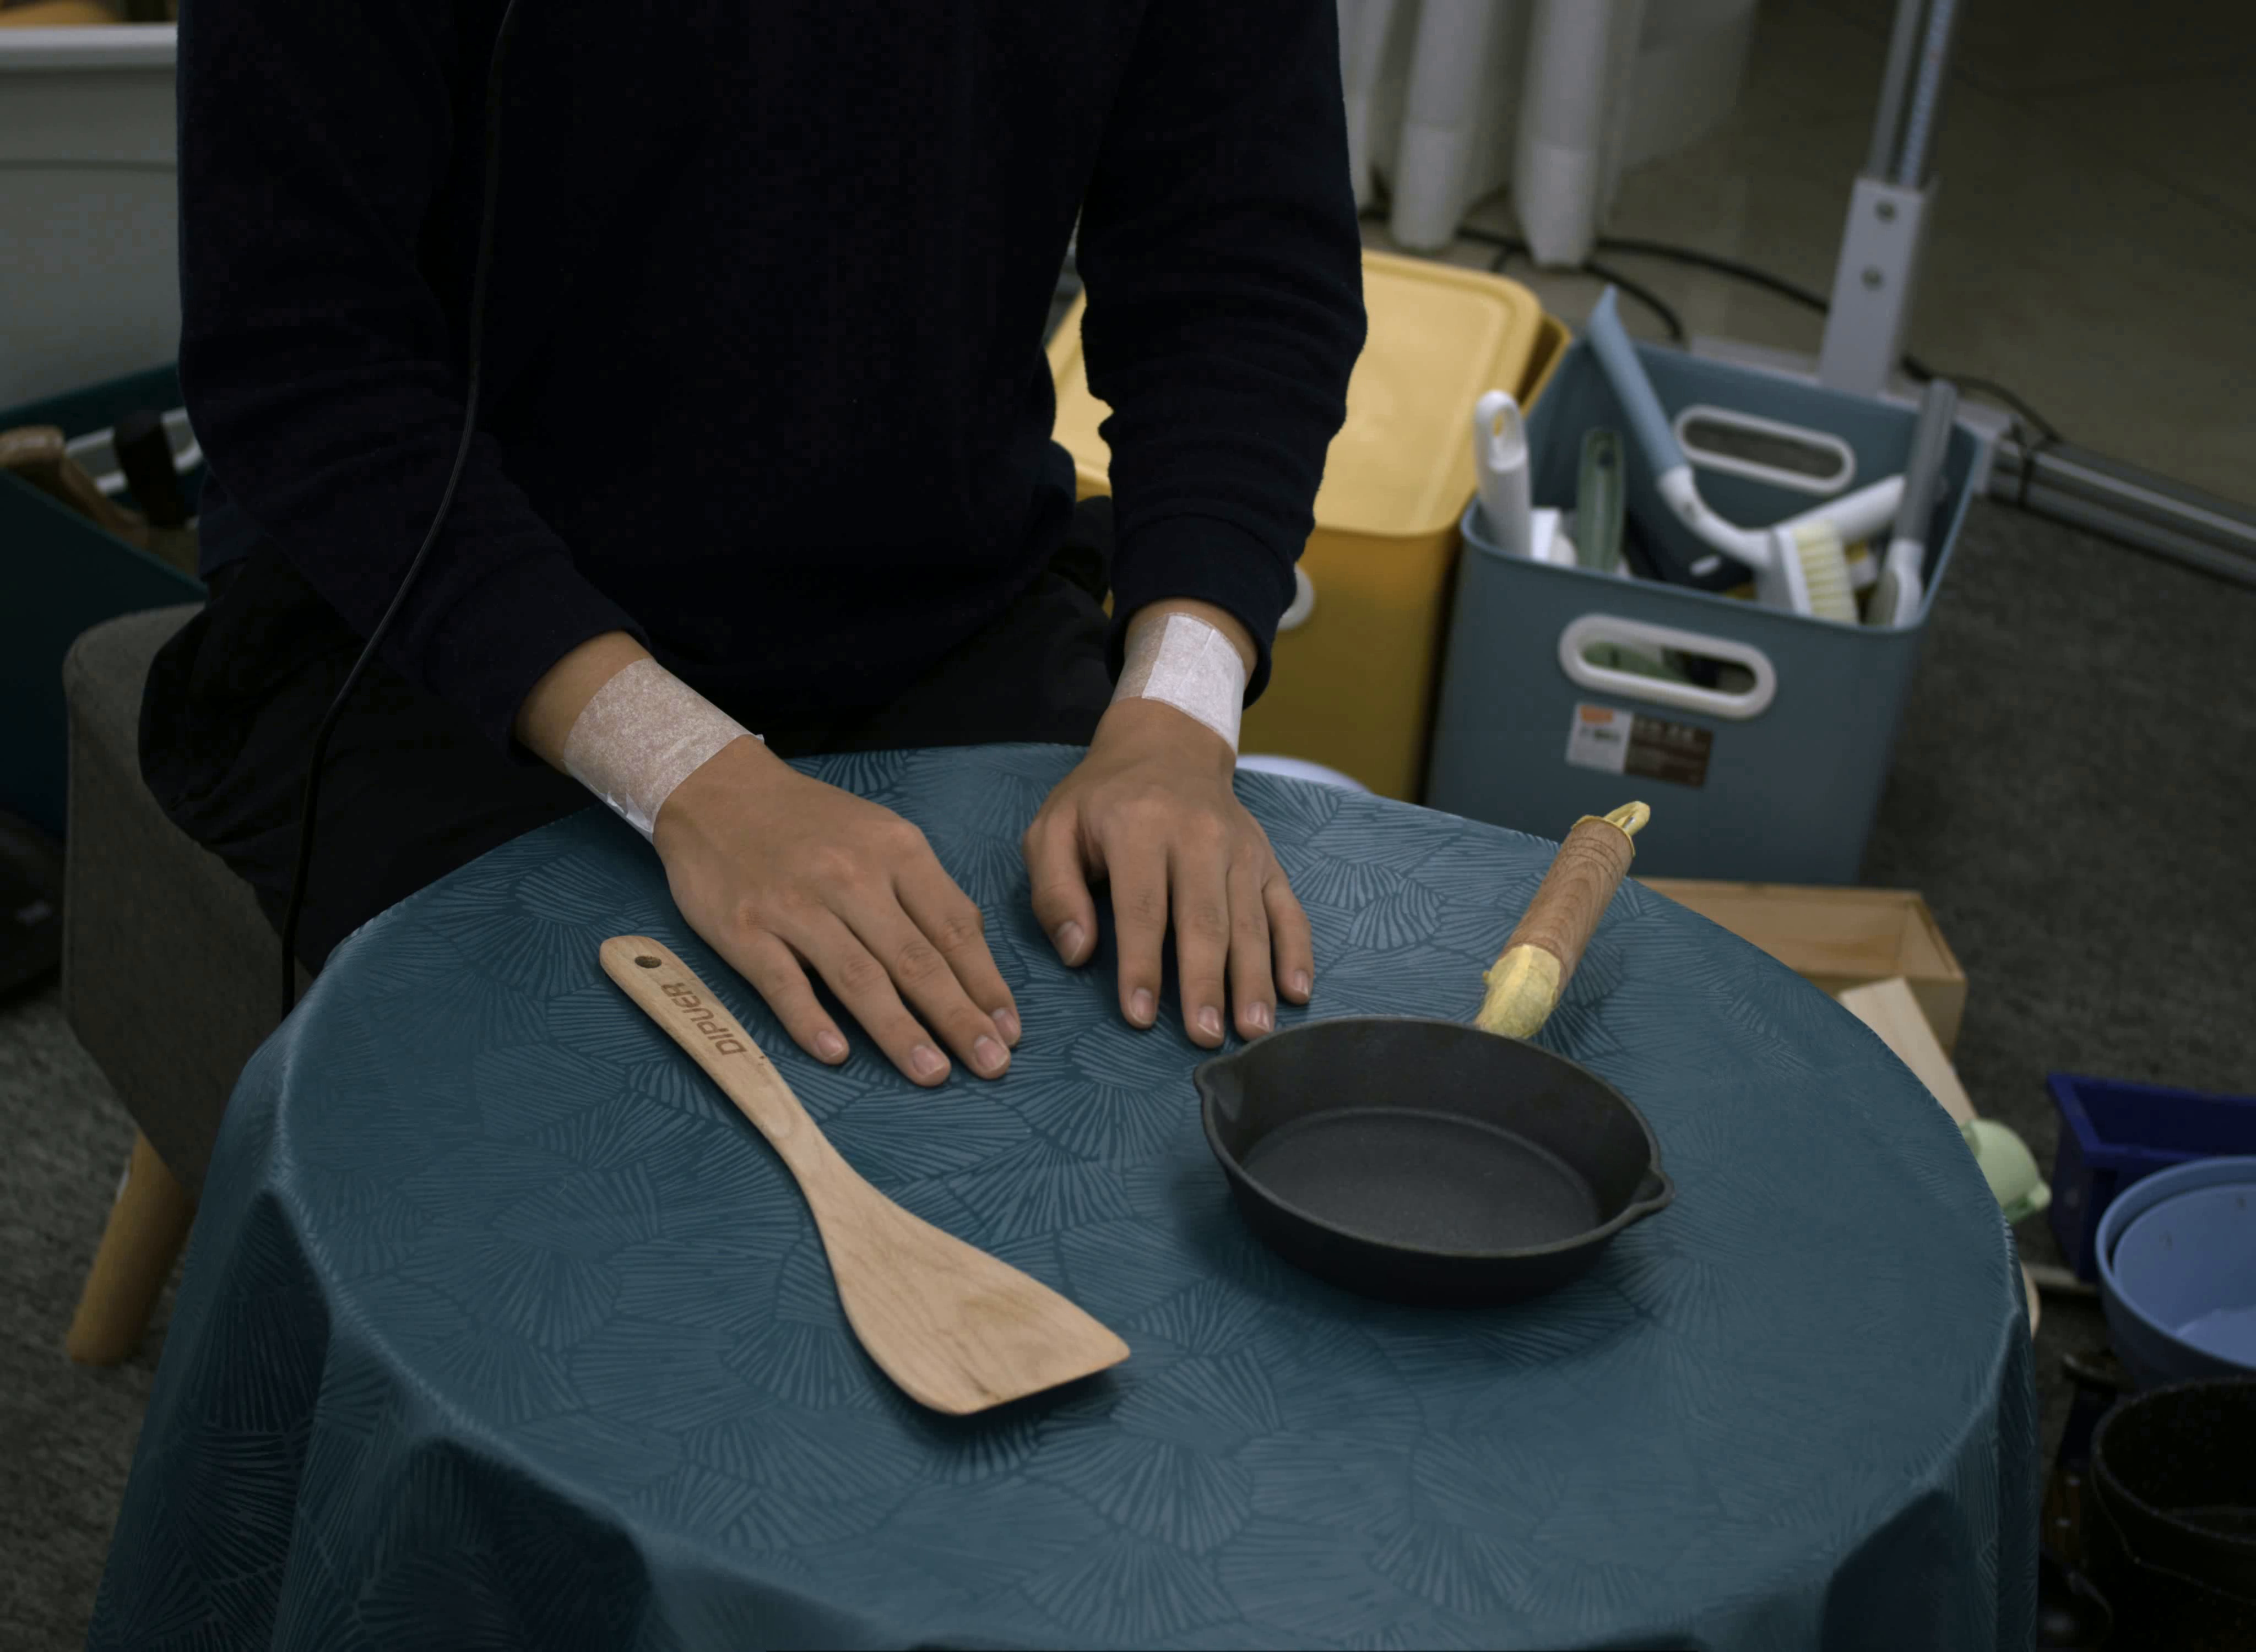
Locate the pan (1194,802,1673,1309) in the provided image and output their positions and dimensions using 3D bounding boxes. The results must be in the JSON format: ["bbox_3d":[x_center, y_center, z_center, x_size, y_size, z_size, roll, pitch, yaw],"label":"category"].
[{"bbox_3d":[0.132,0.076,1.870,0.169,0.049,0.324,15,30,16],"label":"pan"}]

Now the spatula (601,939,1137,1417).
[{"bbox_3d":[-0.101,0.111,1.786,0.079,0.016,0.330,-8,30,-28],"label":"spatula"}]
